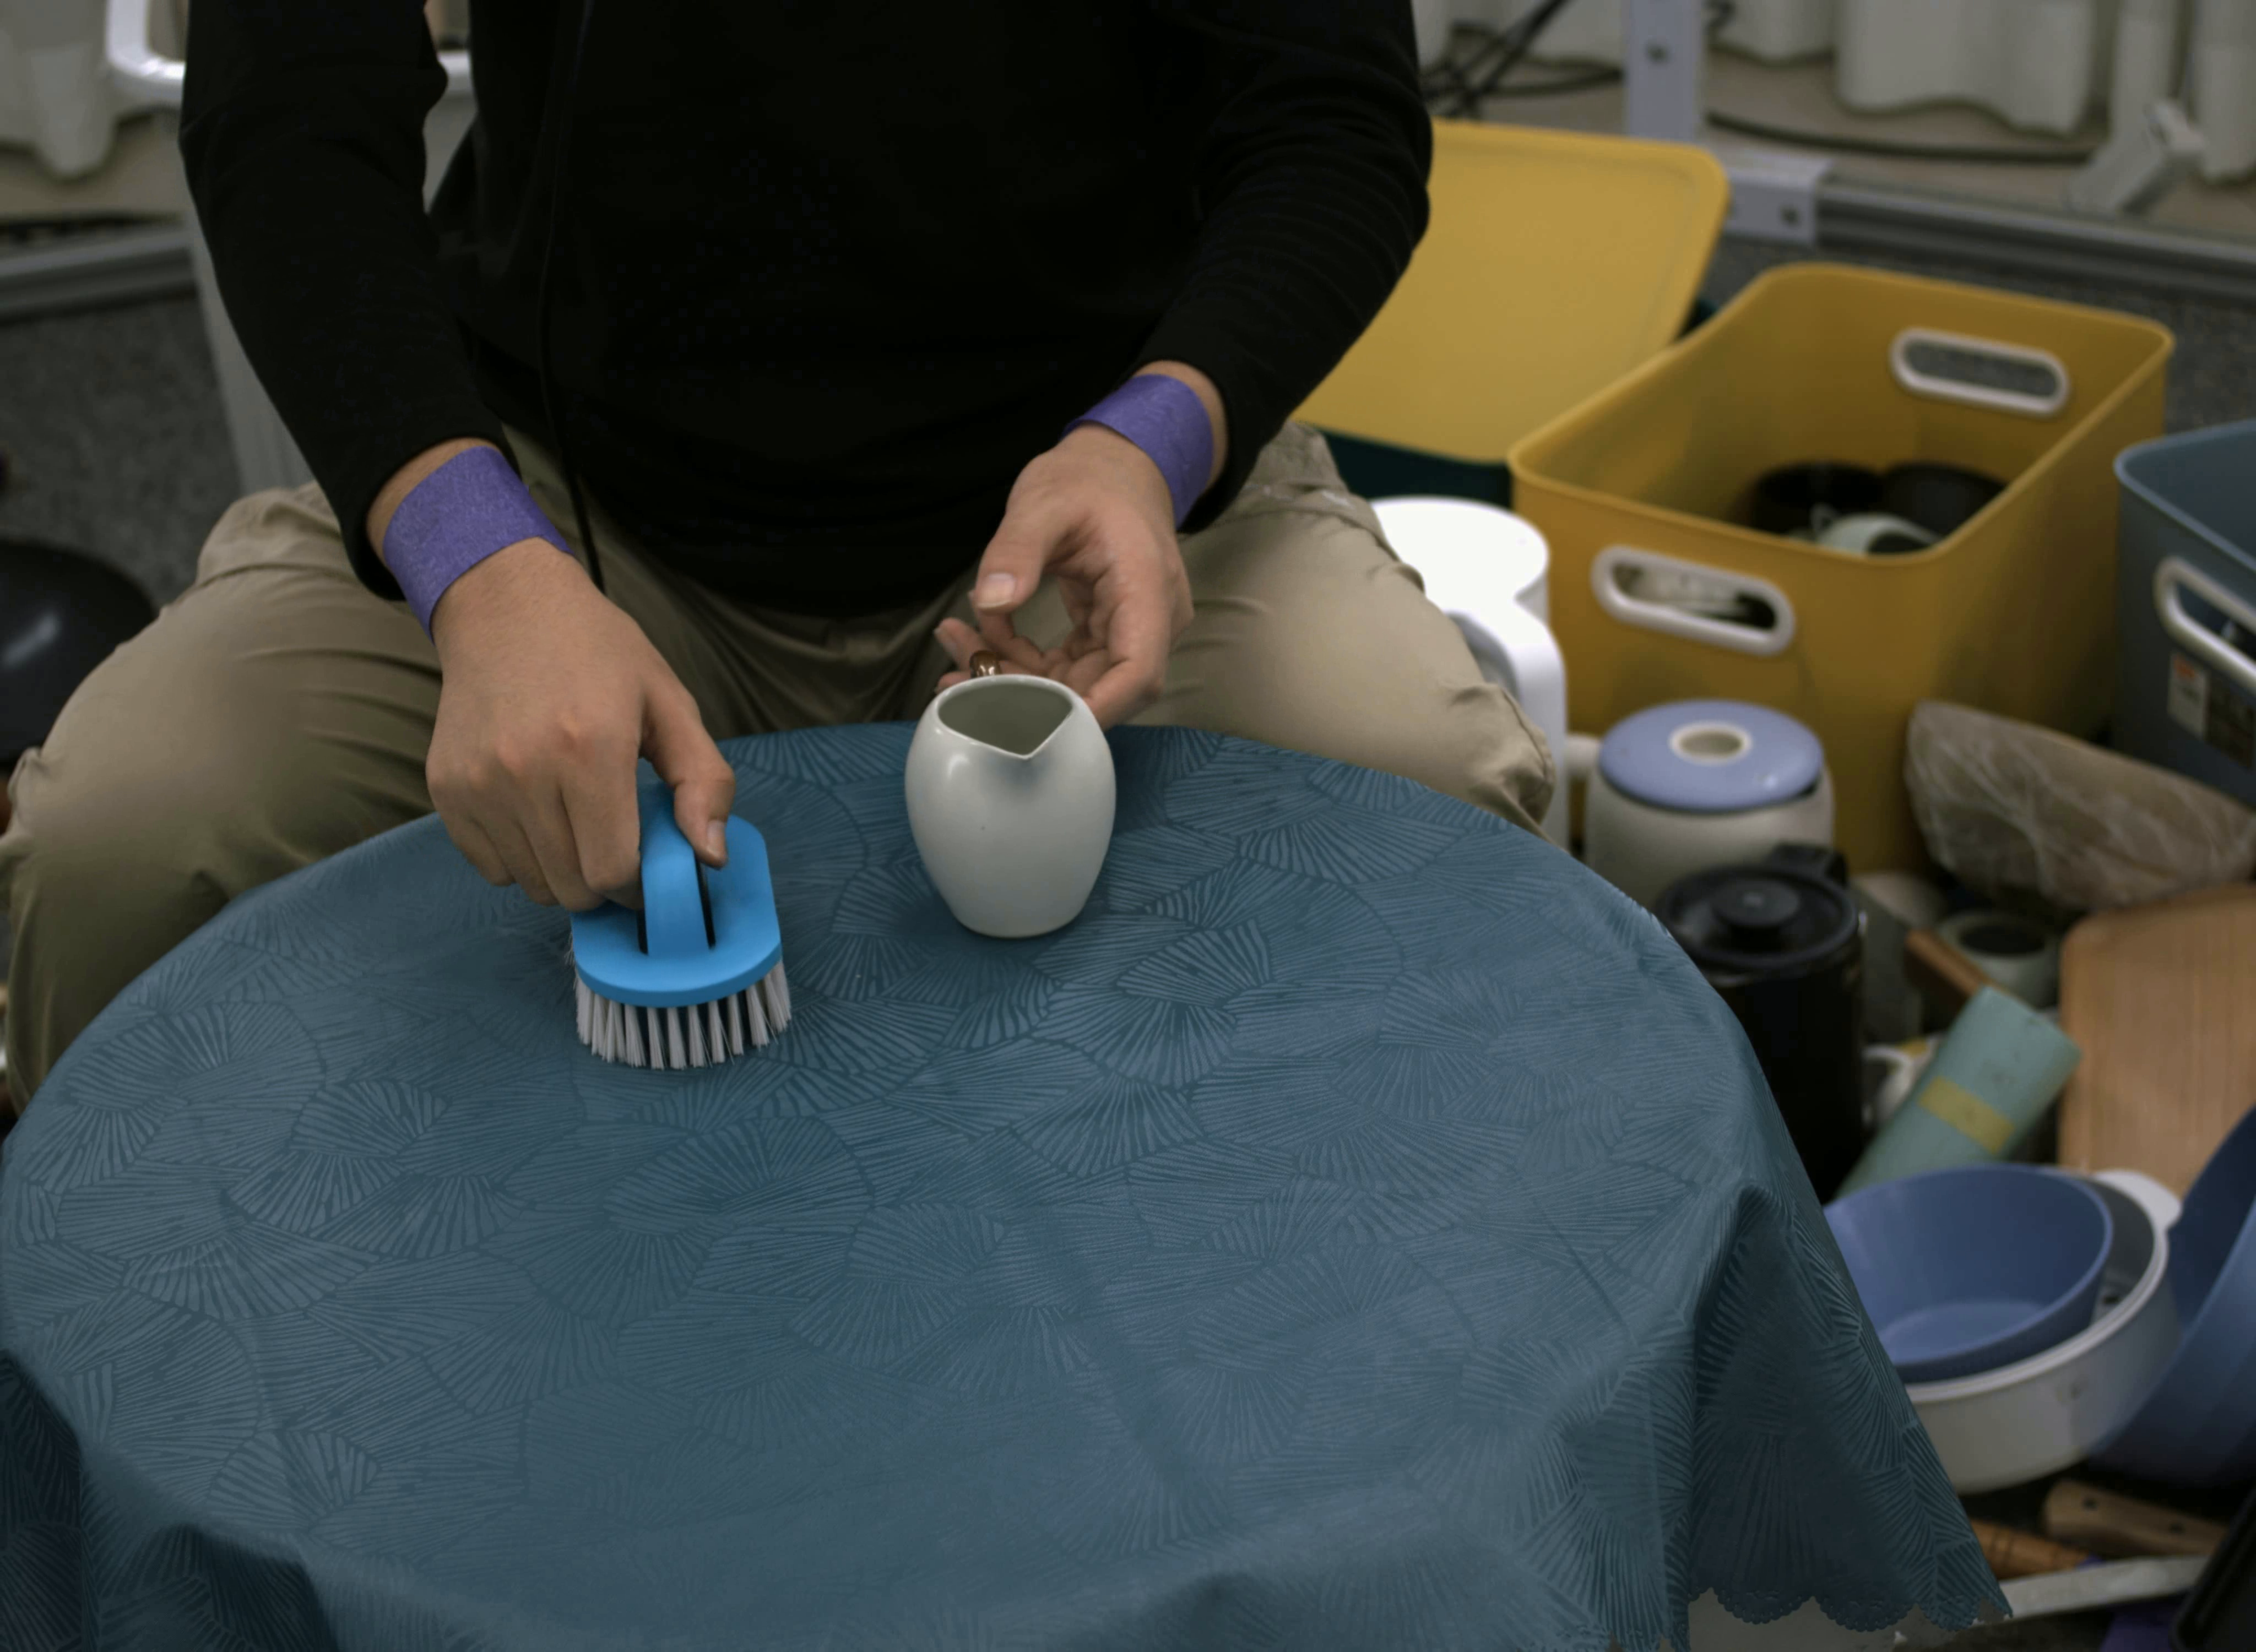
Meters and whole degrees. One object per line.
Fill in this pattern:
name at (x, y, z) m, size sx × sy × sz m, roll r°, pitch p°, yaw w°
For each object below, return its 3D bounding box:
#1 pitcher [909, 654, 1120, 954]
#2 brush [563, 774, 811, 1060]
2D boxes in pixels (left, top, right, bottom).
pitcher at (-0.042, -0.007, 2.019) m, size 0.075 × 0.087 × 0.121 m, roll 0°, pitch 30°, yaw -7°
brush at (-0.160, 0.024, 1.996) m, size 0.084 × 0.063 × 0.143 m, roll -9°, pitch 27°, yaw -2°
